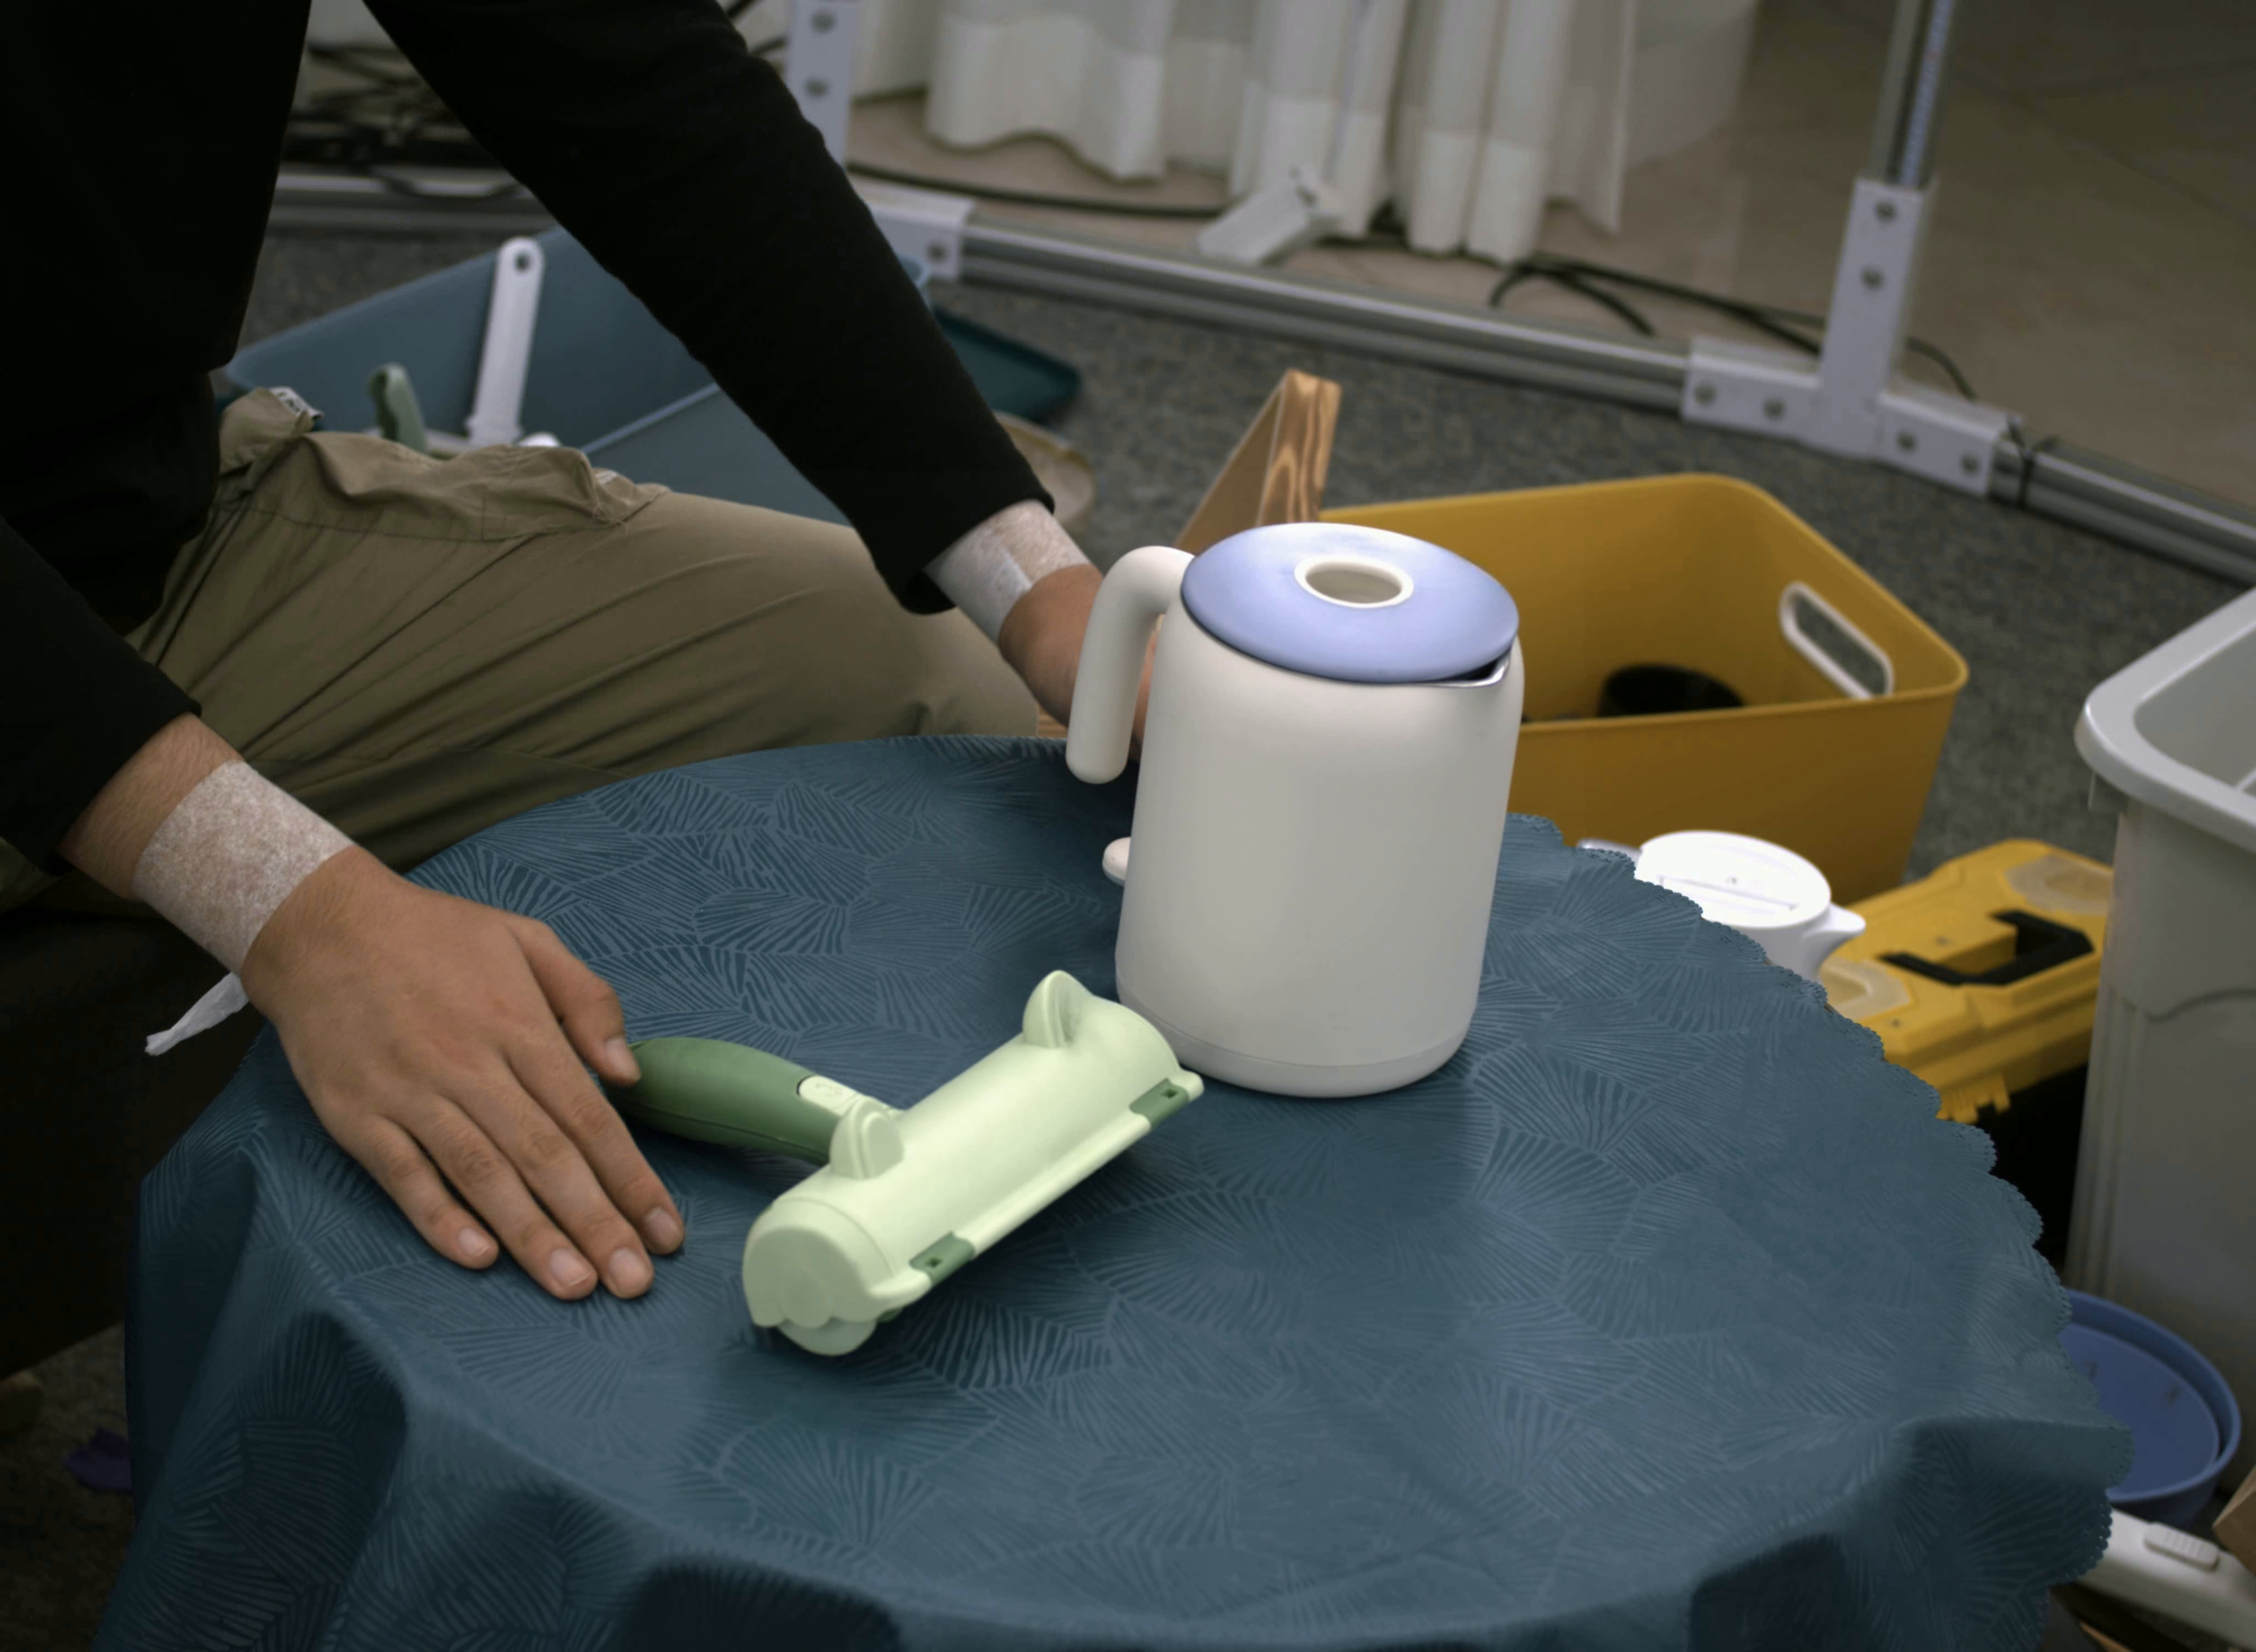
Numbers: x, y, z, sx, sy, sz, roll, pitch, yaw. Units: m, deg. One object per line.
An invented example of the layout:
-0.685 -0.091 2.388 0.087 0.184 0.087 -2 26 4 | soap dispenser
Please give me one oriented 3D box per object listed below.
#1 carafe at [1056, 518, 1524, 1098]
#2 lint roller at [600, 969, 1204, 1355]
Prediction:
0.050 -0.016 1.898 0.192 0.182 0.131 25 31 36 | carafe
-0.097 0.087 1.768 0.184 0.082 0.198 23 30 24 | lint roller
